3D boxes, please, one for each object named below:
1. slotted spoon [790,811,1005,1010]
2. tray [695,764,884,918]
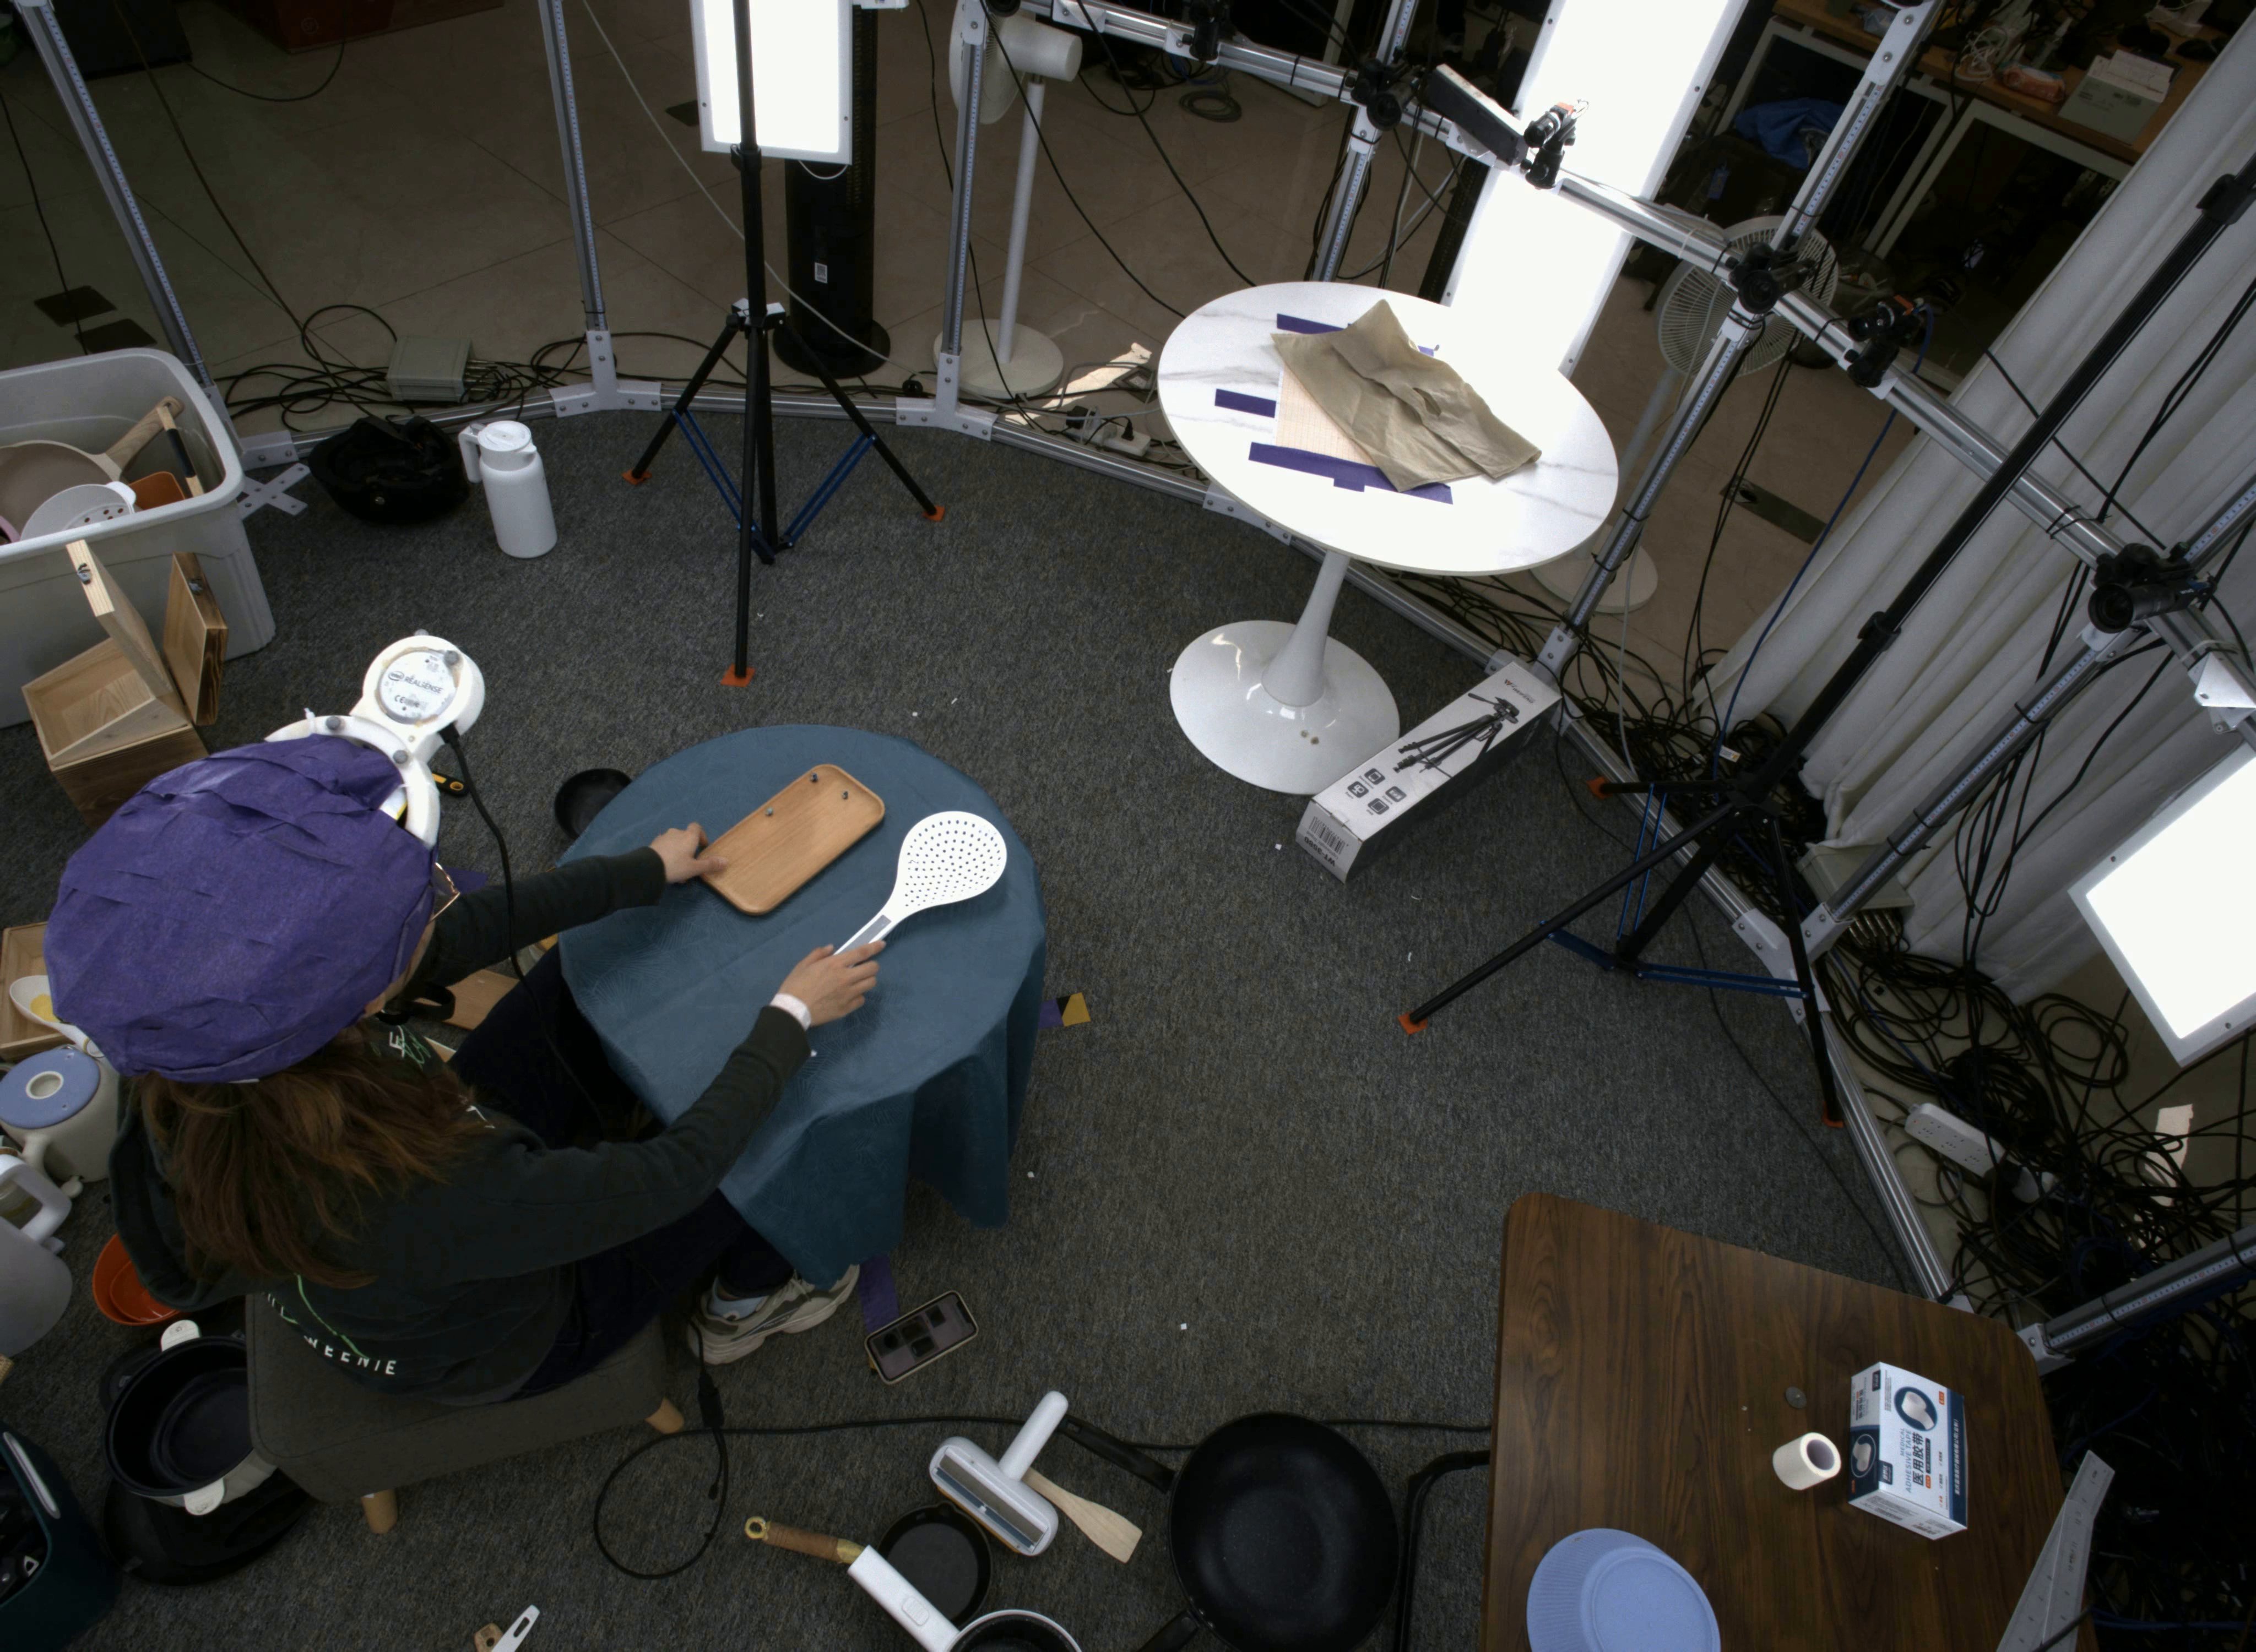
[{"bbox_3d":[-0.294,0.106,1.654,0.133,0.047,0.349,35,54,16],"label":"slotted spoon"},{"bbox_3d":[-0.441,0.015,1.703,0.128,0.023,0.250,35,54,15],"label":"tray"}]
